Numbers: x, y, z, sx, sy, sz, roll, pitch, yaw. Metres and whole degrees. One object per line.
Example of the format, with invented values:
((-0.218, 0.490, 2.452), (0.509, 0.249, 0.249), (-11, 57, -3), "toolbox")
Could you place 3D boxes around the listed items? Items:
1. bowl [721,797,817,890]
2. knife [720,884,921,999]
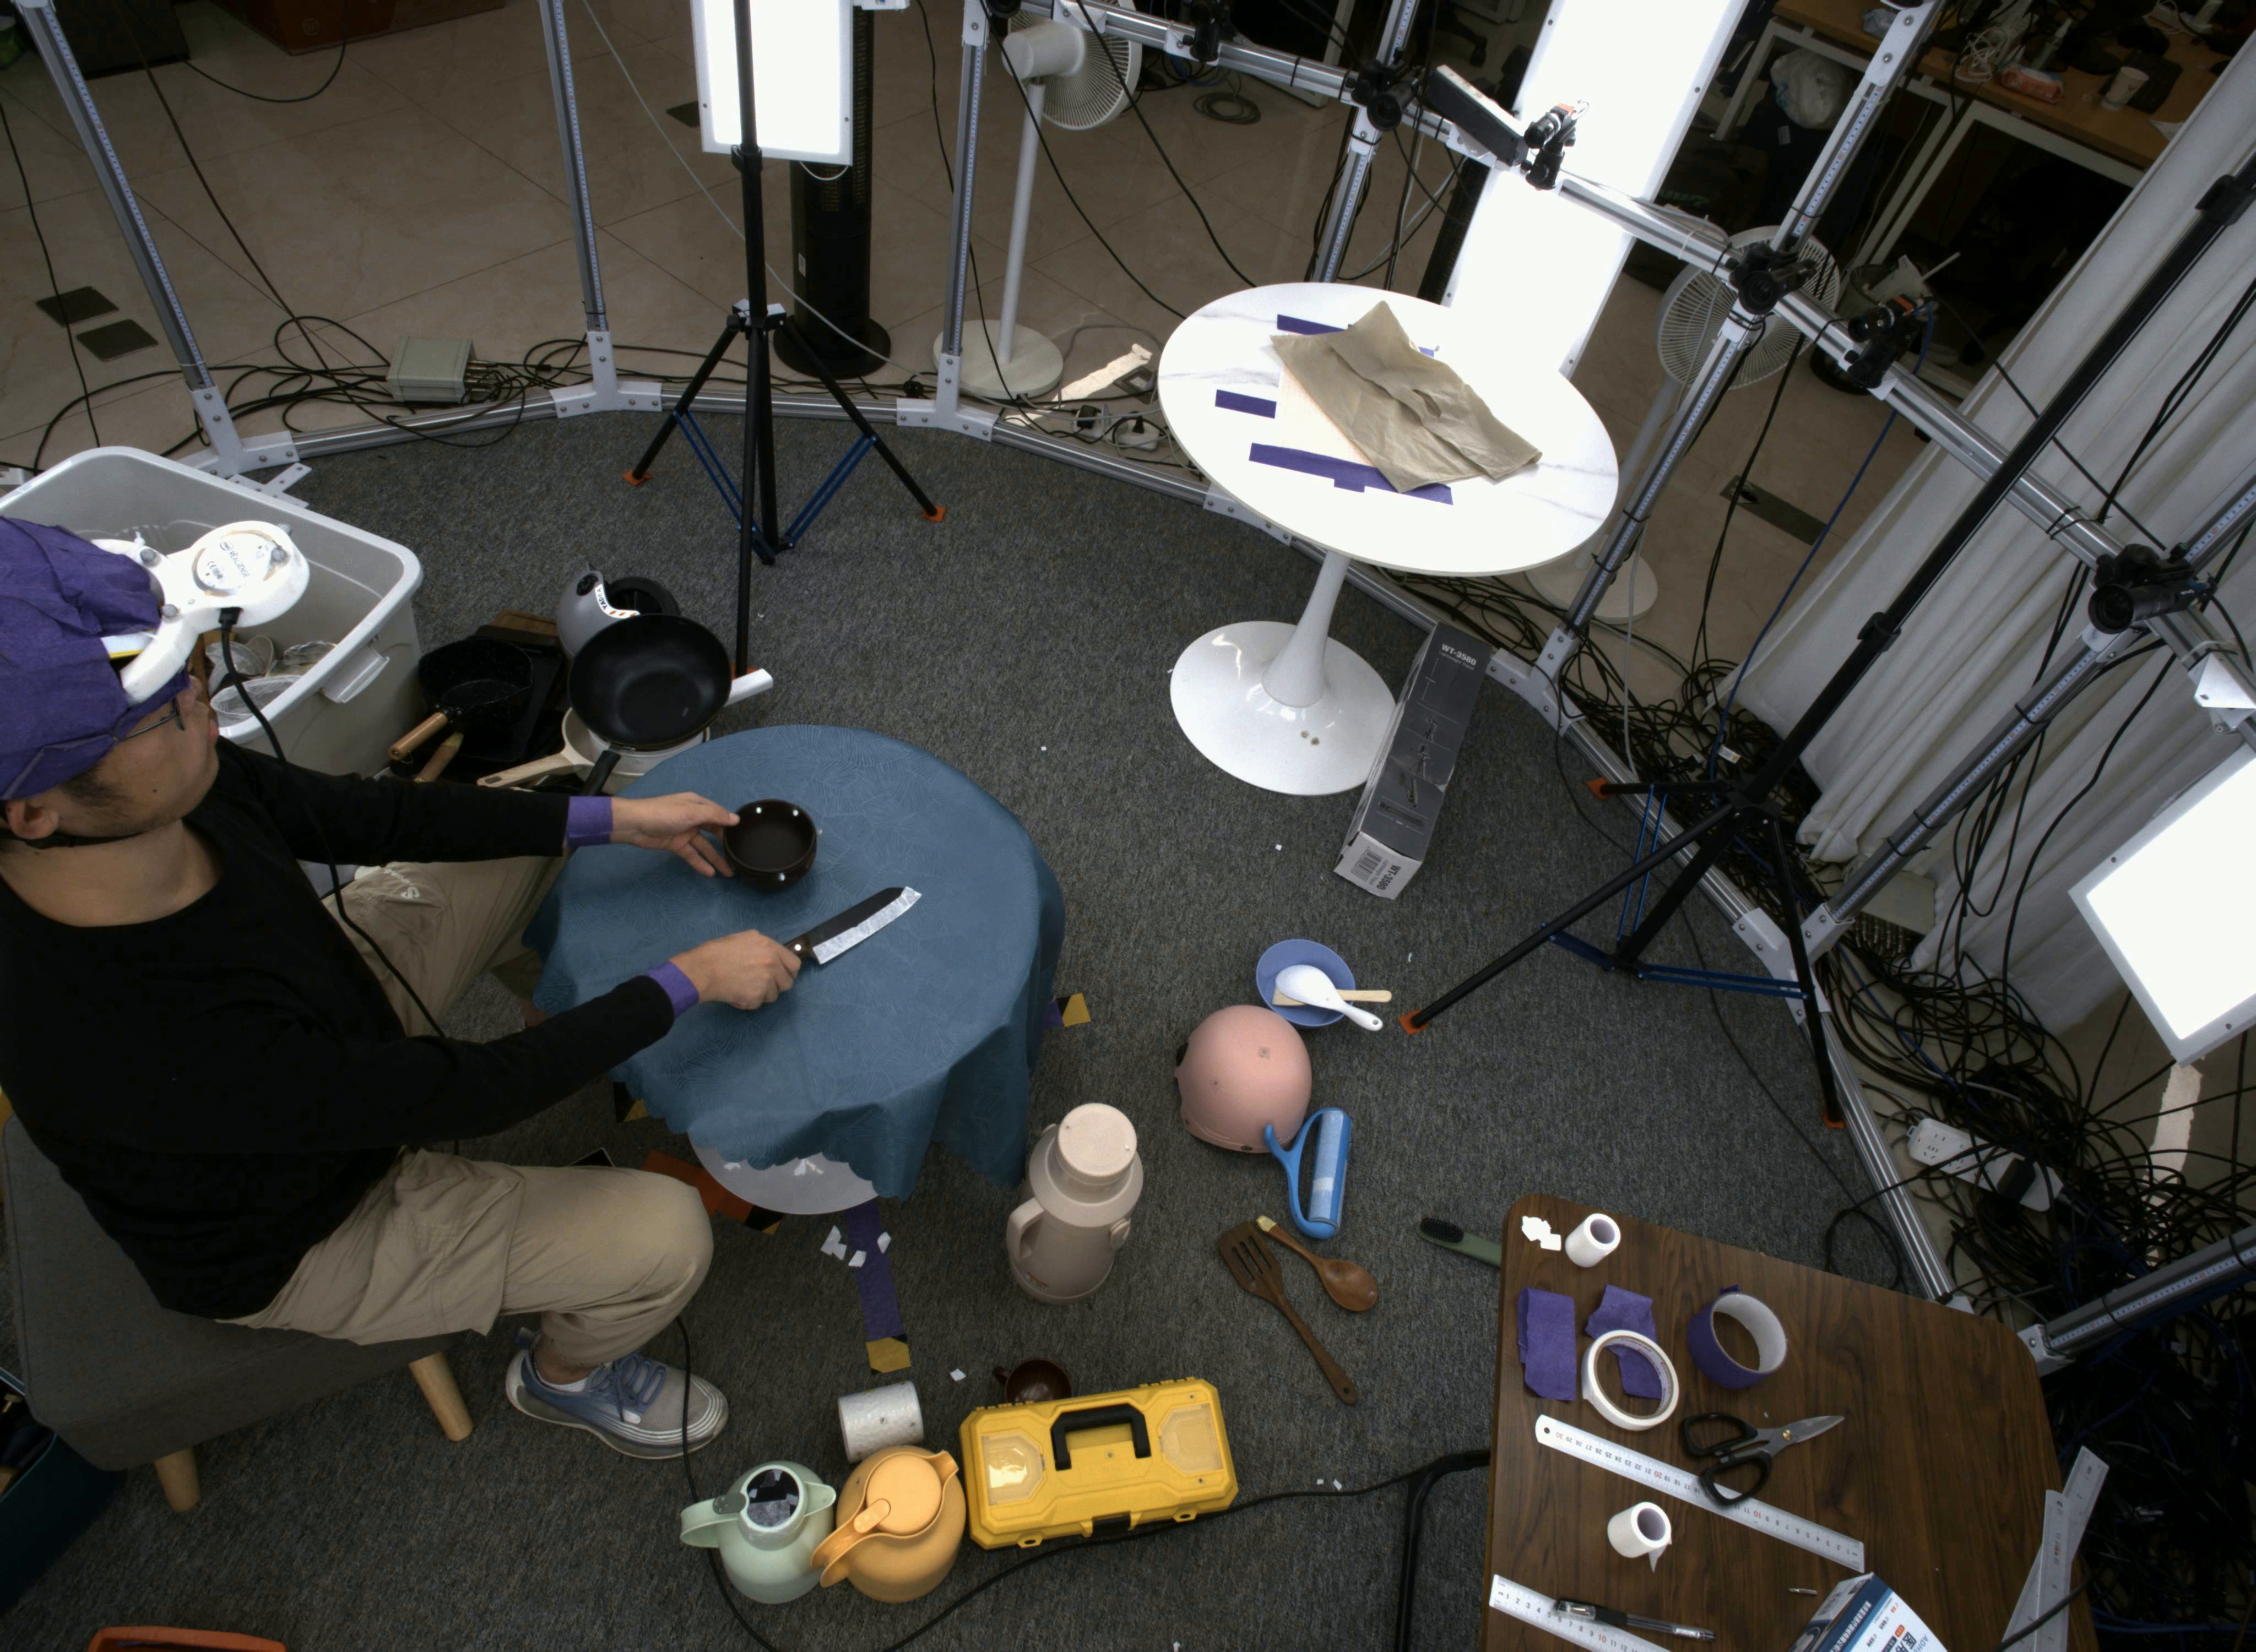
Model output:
((-0.455, 0.029, 1.645), (0.118, 0.071, 0.116), (7, 52, -8), "bowl")
((-0.375, 0.138, 1.608), (0.291, 0.019, 0.051), (-28, 93, -36), "knife")
